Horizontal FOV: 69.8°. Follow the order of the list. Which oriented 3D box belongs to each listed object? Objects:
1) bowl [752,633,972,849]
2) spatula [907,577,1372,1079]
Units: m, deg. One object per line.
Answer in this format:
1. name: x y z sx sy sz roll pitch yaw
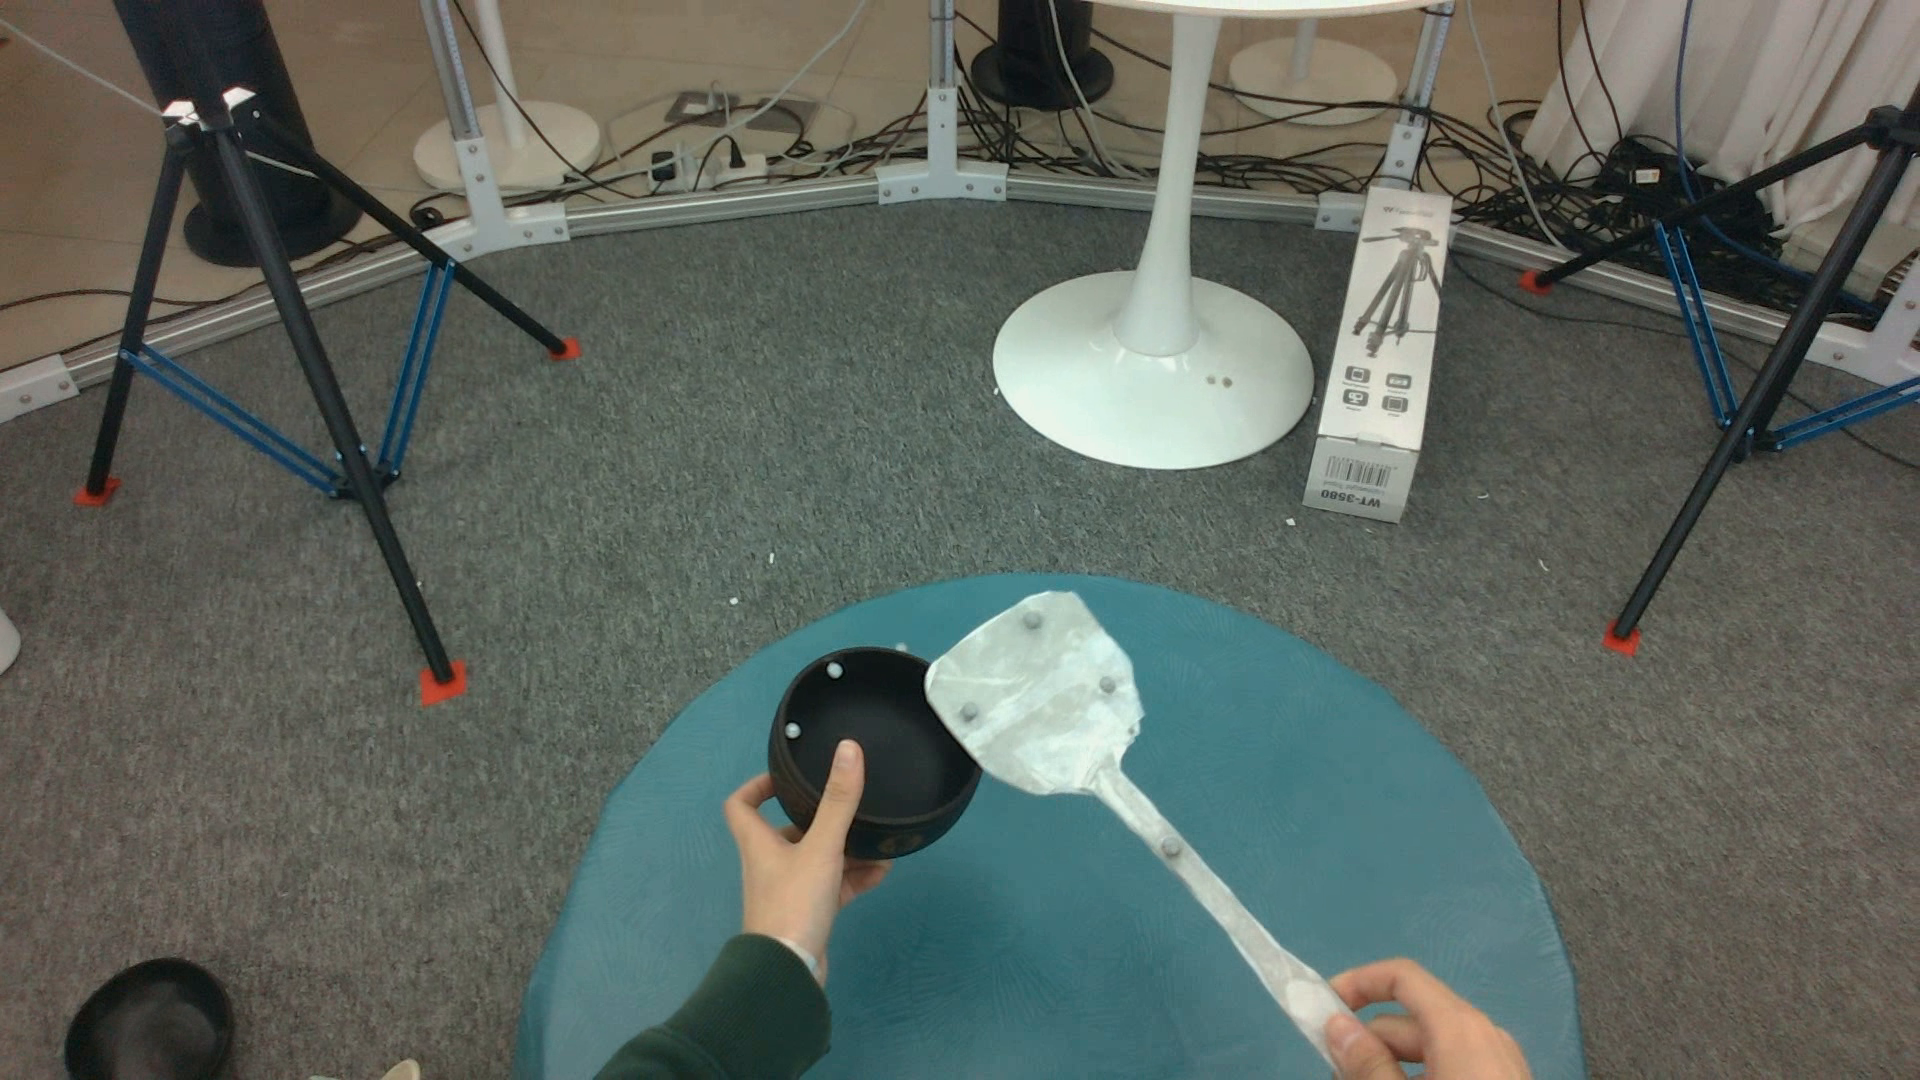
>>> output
1. bowl: -0.057 0.117 0.756 0.118 0.069 0.118 10 48 -11
2. spatula: 0.097 0.147 0.612 0.099 0.044 0.365 -30 45 -13
